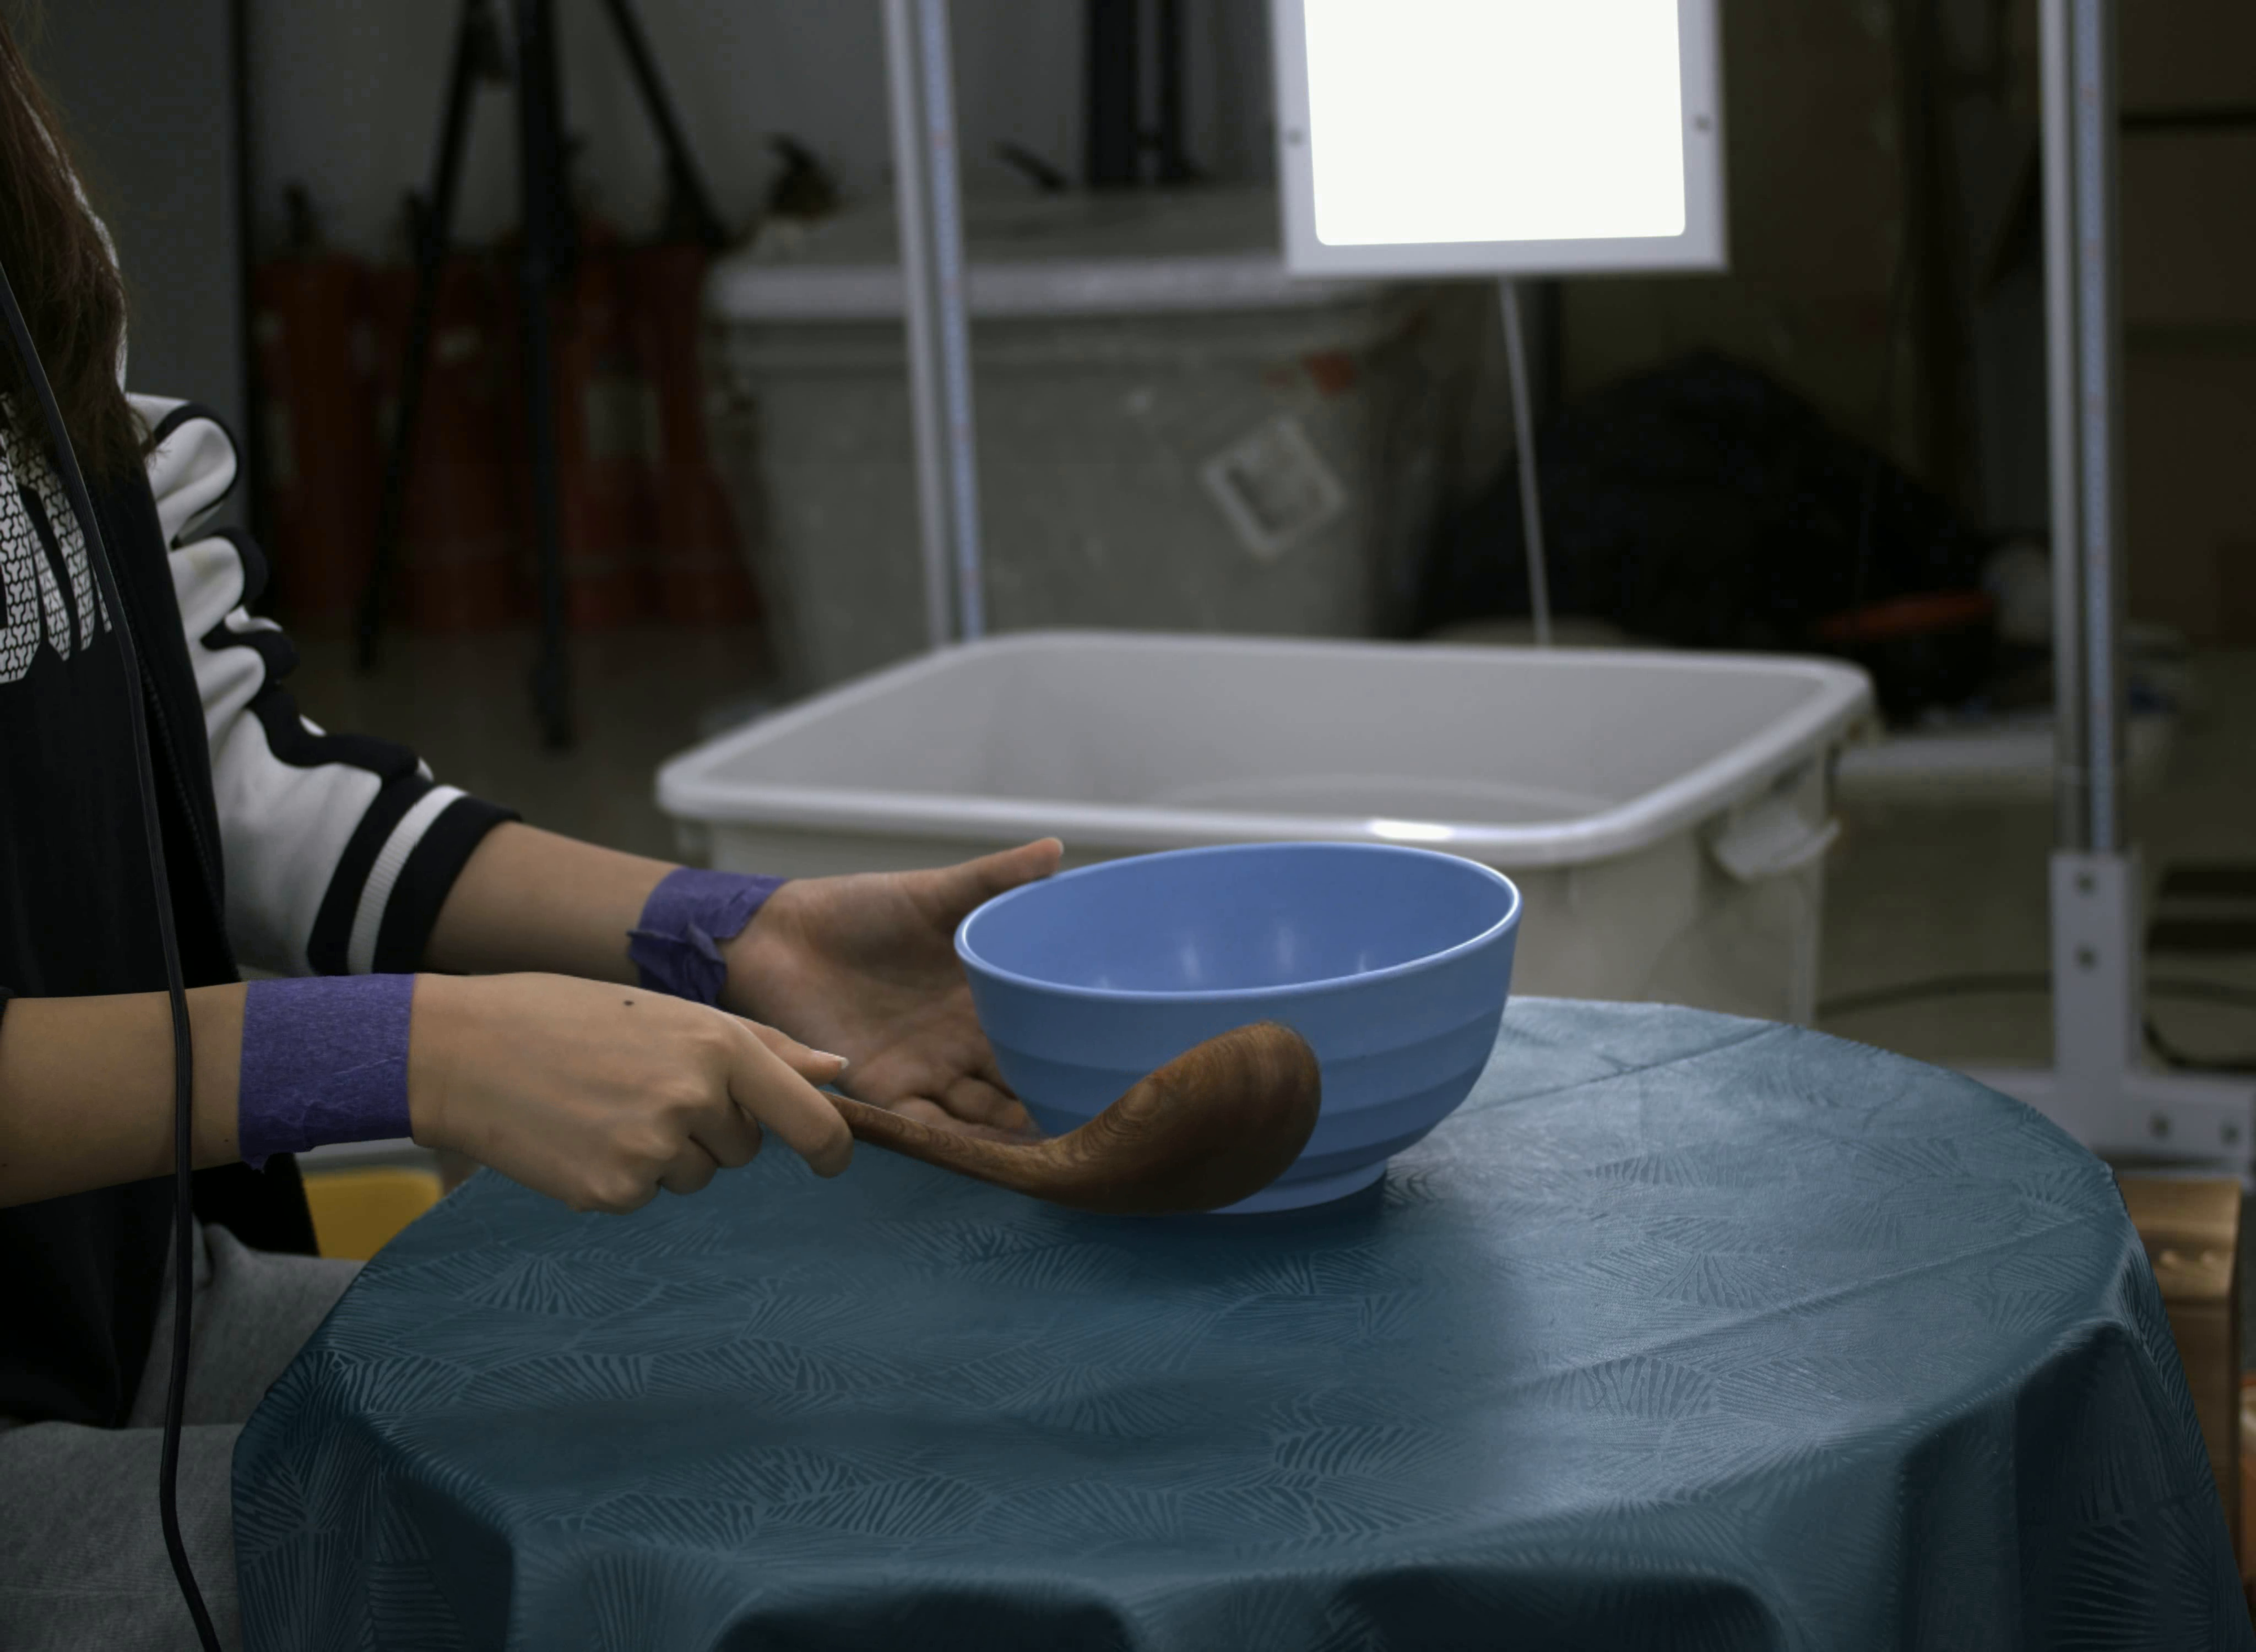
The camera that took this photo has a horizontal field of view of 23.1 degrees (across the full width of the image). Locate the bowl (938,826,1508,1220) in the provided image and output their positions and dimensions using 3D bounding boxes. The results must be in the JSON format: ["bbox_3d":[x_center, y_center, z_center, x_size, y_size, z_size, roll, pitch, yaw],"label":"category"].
[{"bbox_3d":[0.034,0.075,1.900,0.196,0.096,0.196,-3,19,0],"label":"bowl"}]

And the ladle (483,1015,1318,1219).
[{"bbox_3d":[-0.070,0.081,1.700,0.263,0.076,0.064,6,59,16],"label":"ladle"}]
